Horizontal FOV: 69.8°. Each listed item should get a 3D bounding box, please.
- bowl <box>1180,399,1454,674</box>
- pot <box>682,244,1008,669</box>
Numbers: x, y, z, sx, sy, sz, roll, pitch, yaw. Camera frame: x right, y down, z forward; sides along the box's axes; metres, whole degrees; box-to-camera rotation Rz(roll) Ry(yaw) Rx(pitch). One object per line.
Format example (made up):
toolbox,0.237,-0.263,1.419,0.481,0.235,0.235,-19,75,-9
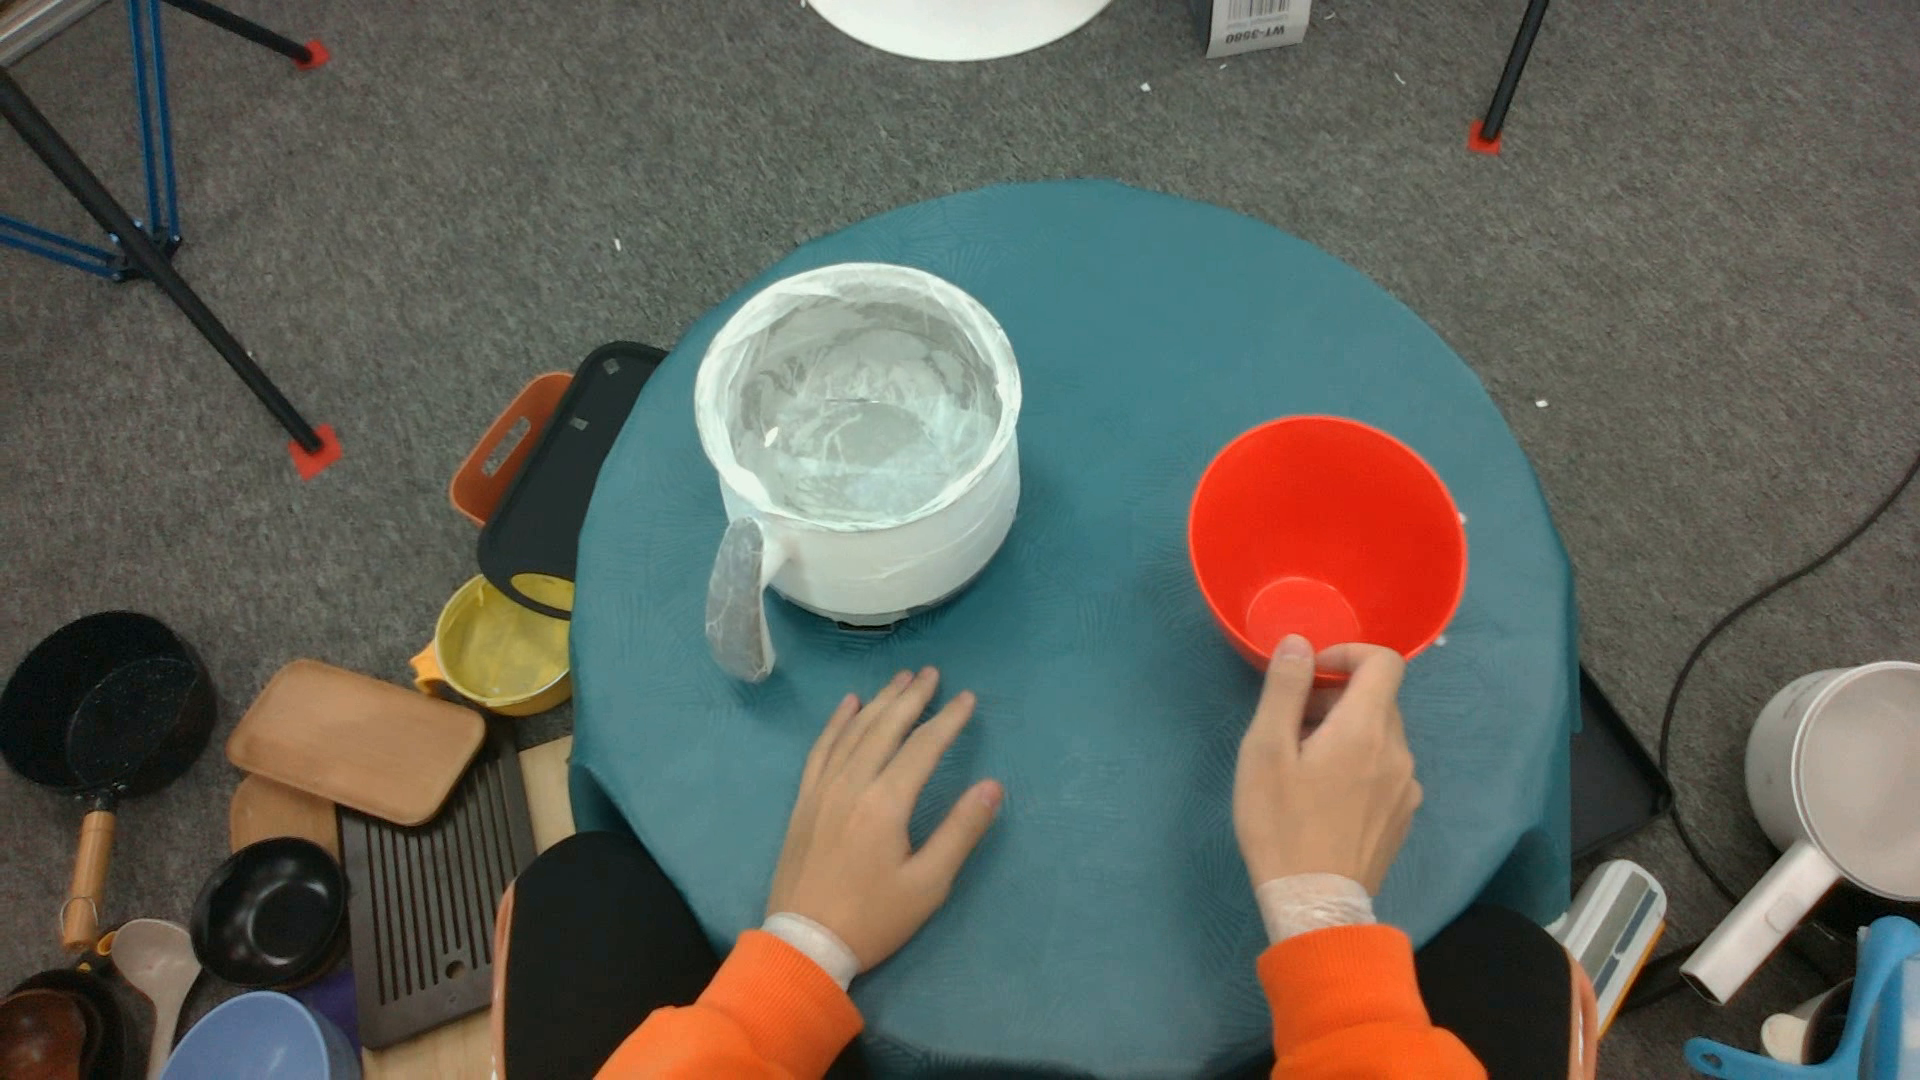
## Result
bowl,0.193,0.011,0.776,0.148,0.104,0.148,0,62,1
pot,-0.074,-0.039,0.786,0.178,0.136,0.234,26,65,15
